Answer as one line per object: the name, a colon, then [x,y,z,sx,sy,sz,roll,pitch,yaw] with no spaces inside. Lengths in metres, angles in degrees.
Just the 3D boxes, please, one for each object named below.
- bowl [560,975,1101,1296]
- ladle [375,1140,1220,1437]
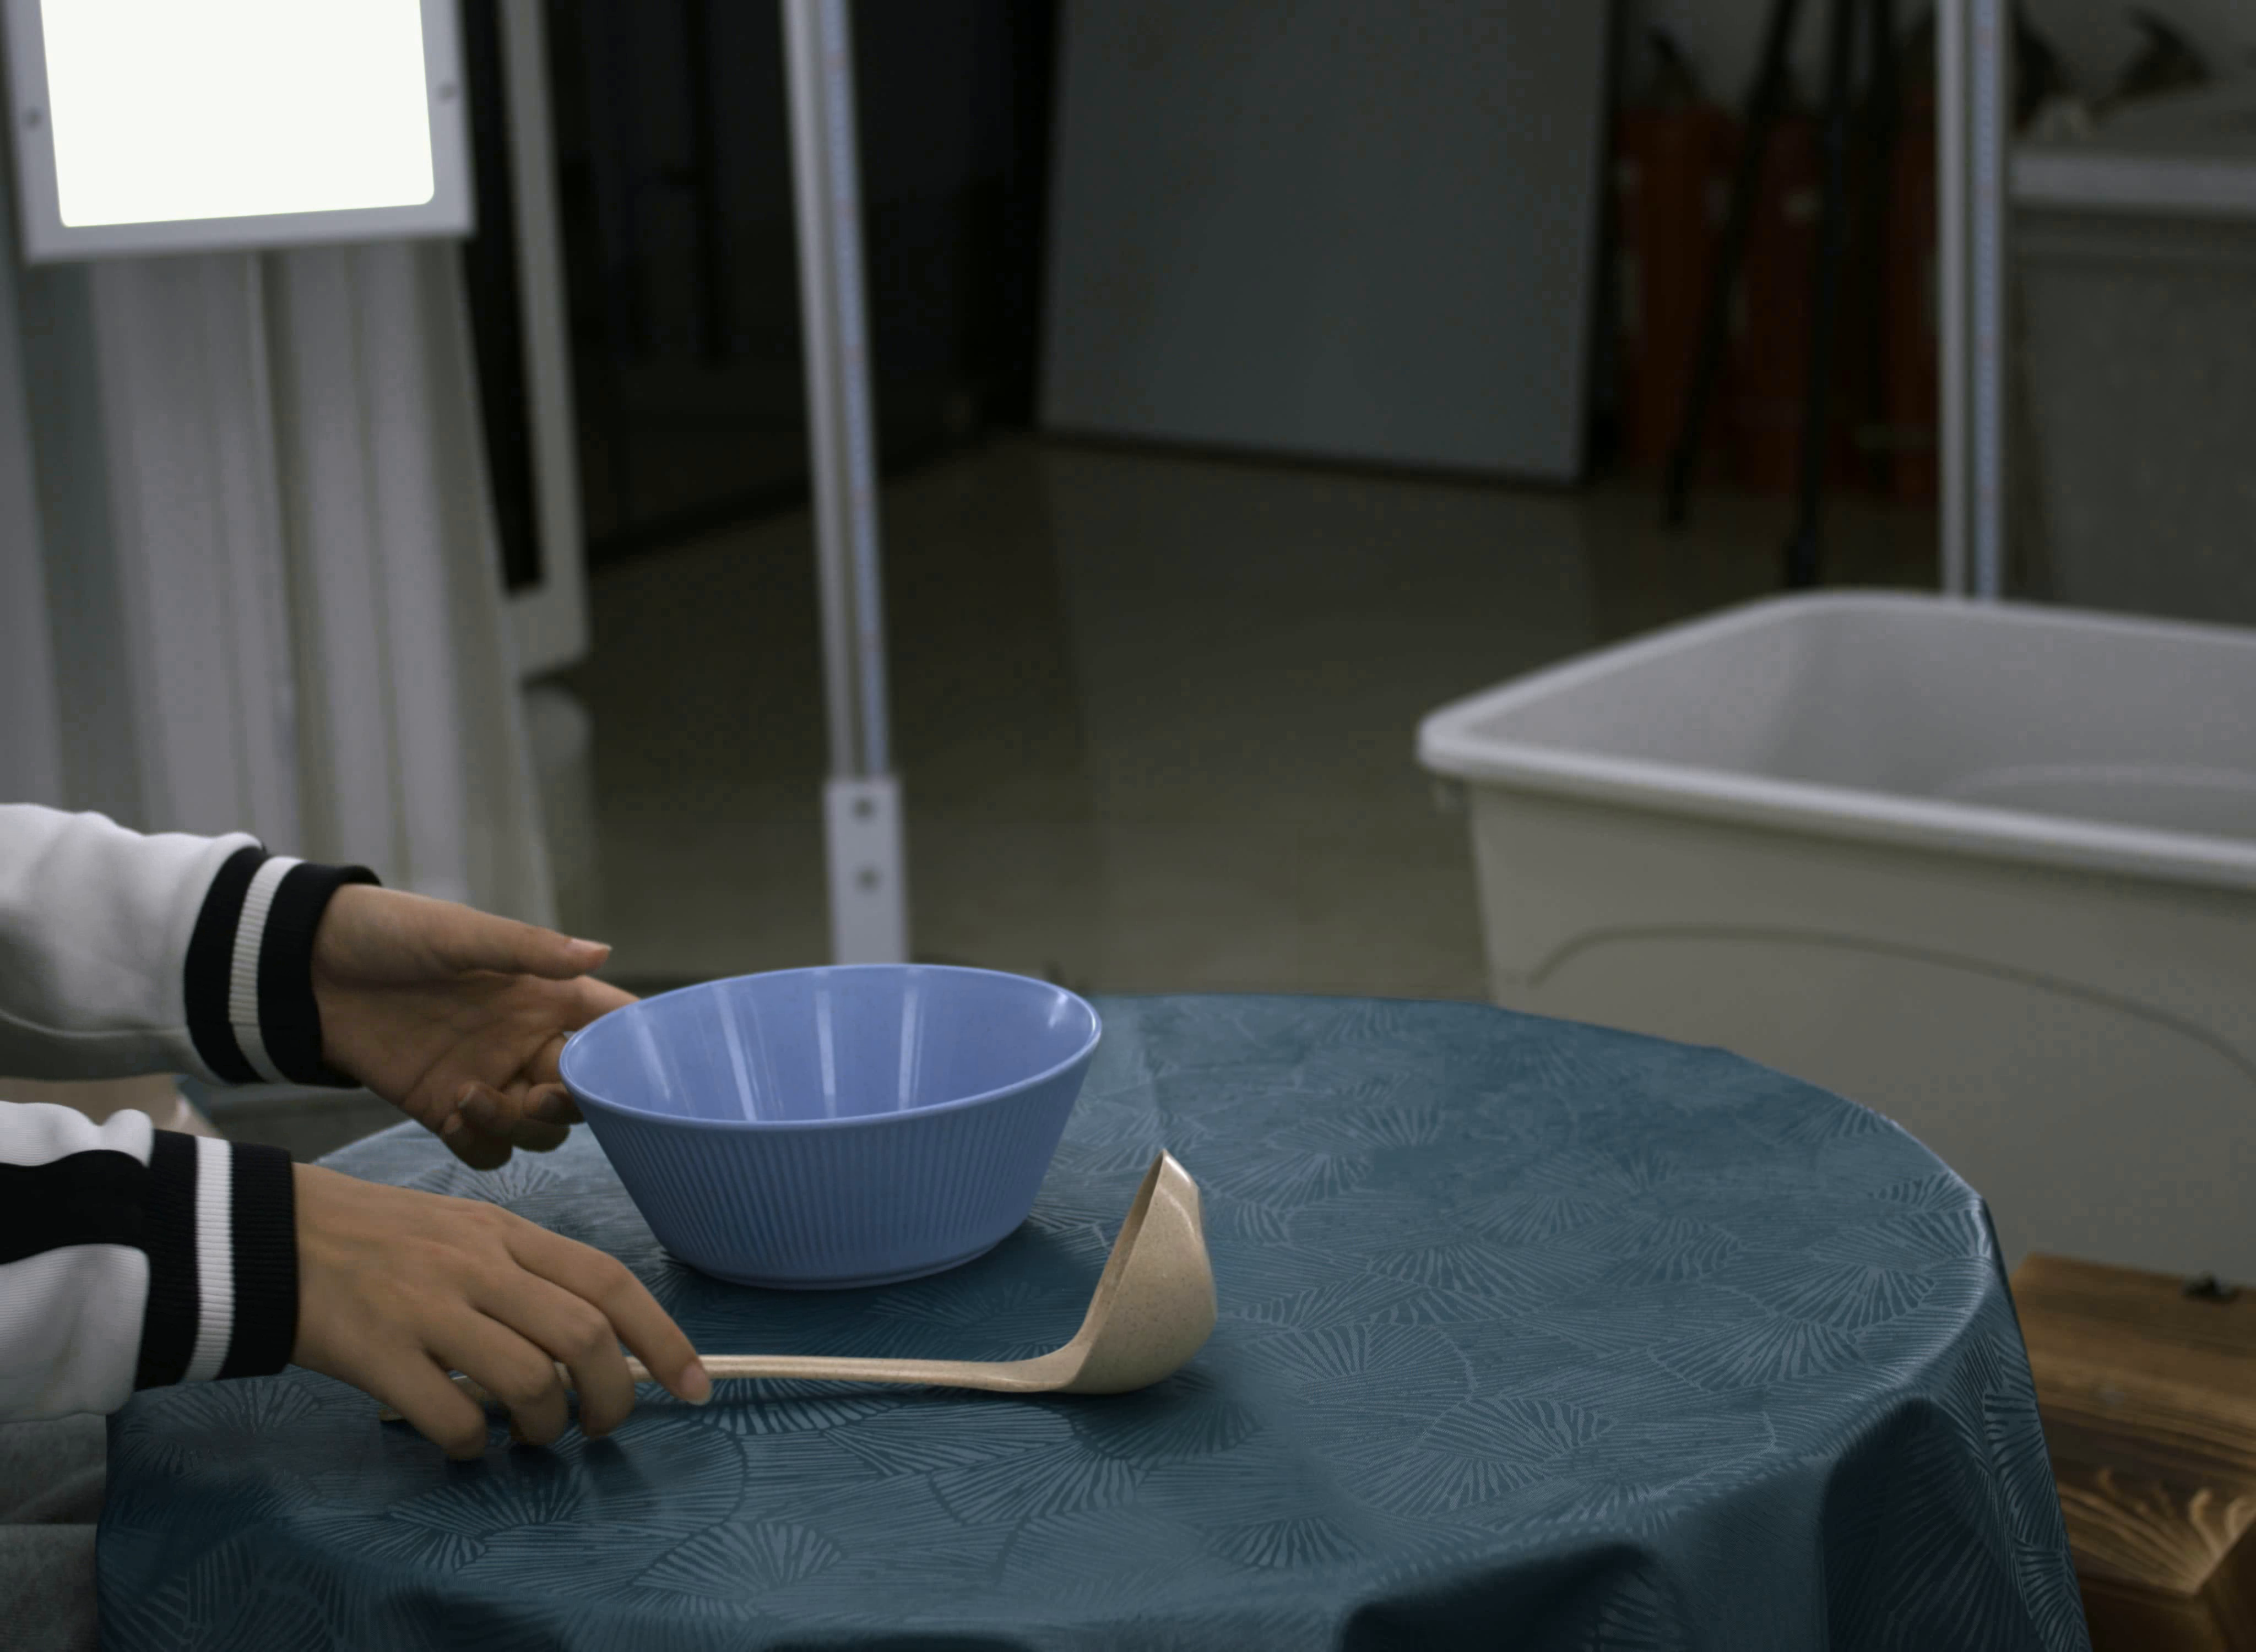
bowl: [-0.093,0.101,1.734,0.174,0.071,0.176,-4,13,0]
ladle: [-0.099,0.136,1.586,0.251,0.073,0.072,-3,12,3]
